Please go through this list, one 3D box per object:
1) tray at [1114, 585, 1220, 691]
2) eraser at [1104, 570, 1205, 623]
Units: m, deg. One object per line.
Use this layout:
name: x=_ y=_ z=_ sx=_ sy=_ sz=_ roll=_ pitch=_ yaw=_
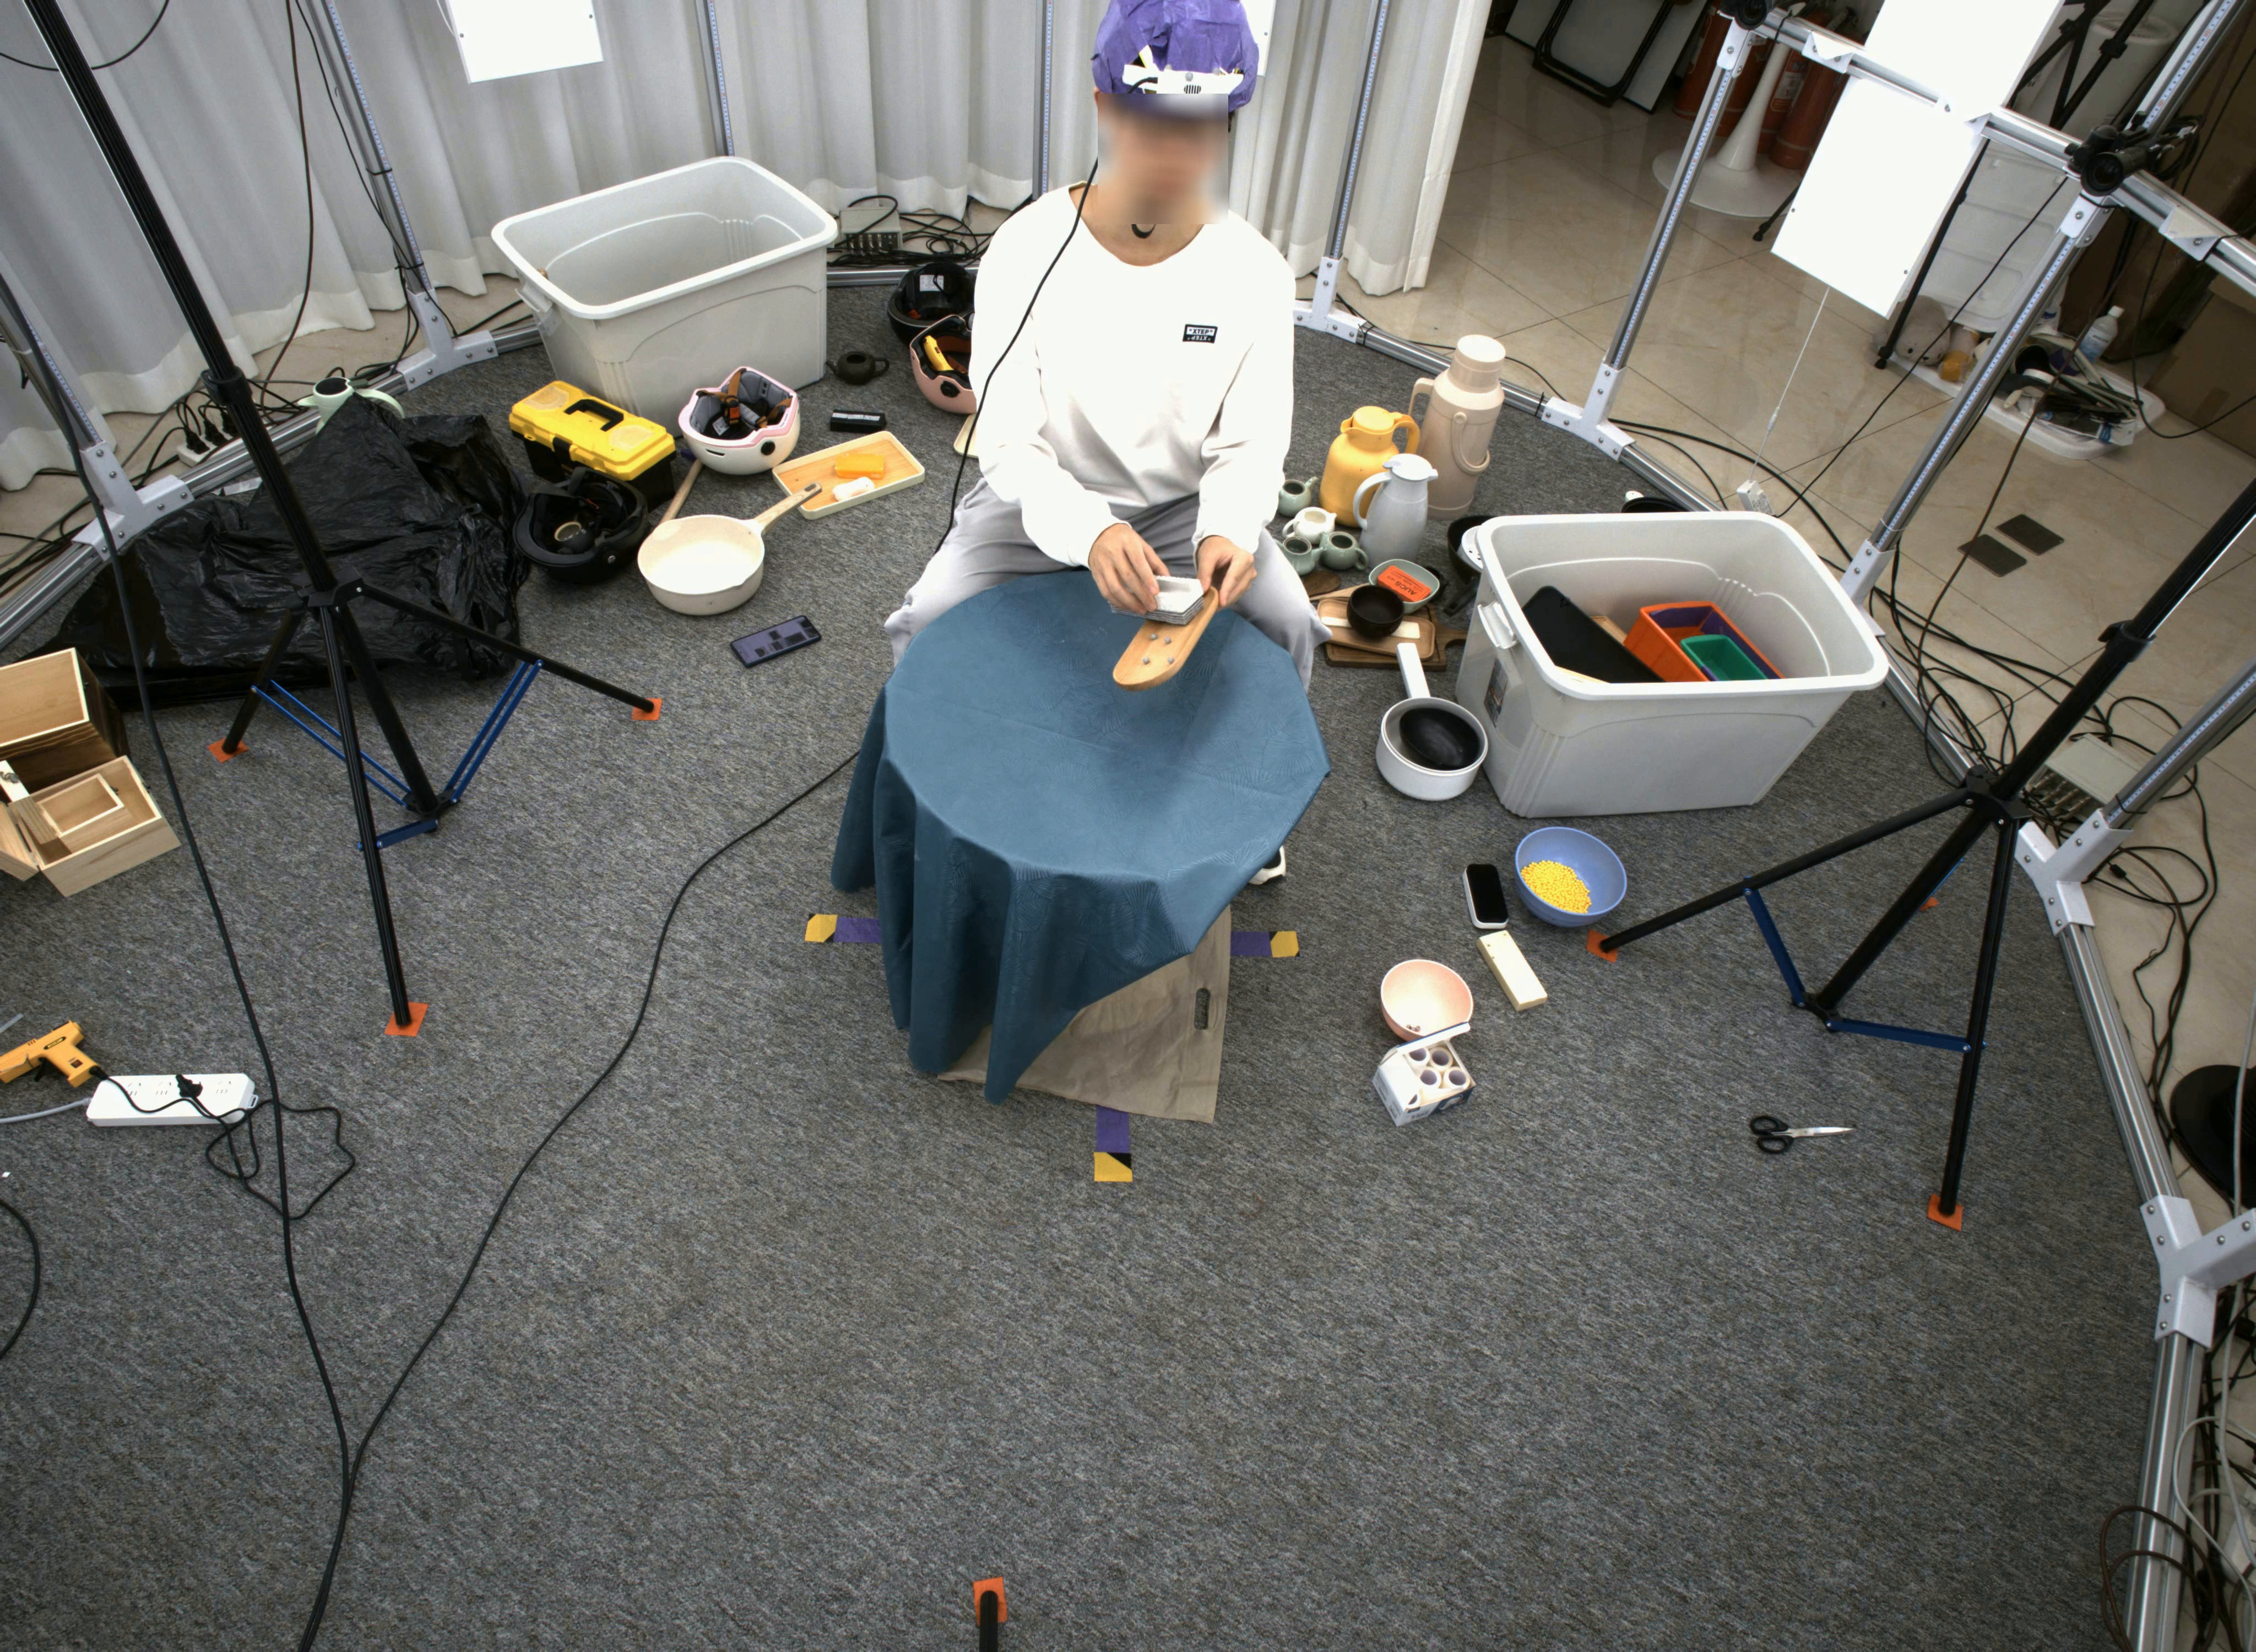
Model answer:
tray: x=0.054 y=-0.254 z=1.722 sx=0.102 sy=0.020 sz=0.235 roll=-3 pitch=38 yaw=31
eraser: x=0.038 y=-0.315 z=1.766 sx=0.135 sy=0.045 sz=0.050 roll=15 pitch=43 yaw=35
